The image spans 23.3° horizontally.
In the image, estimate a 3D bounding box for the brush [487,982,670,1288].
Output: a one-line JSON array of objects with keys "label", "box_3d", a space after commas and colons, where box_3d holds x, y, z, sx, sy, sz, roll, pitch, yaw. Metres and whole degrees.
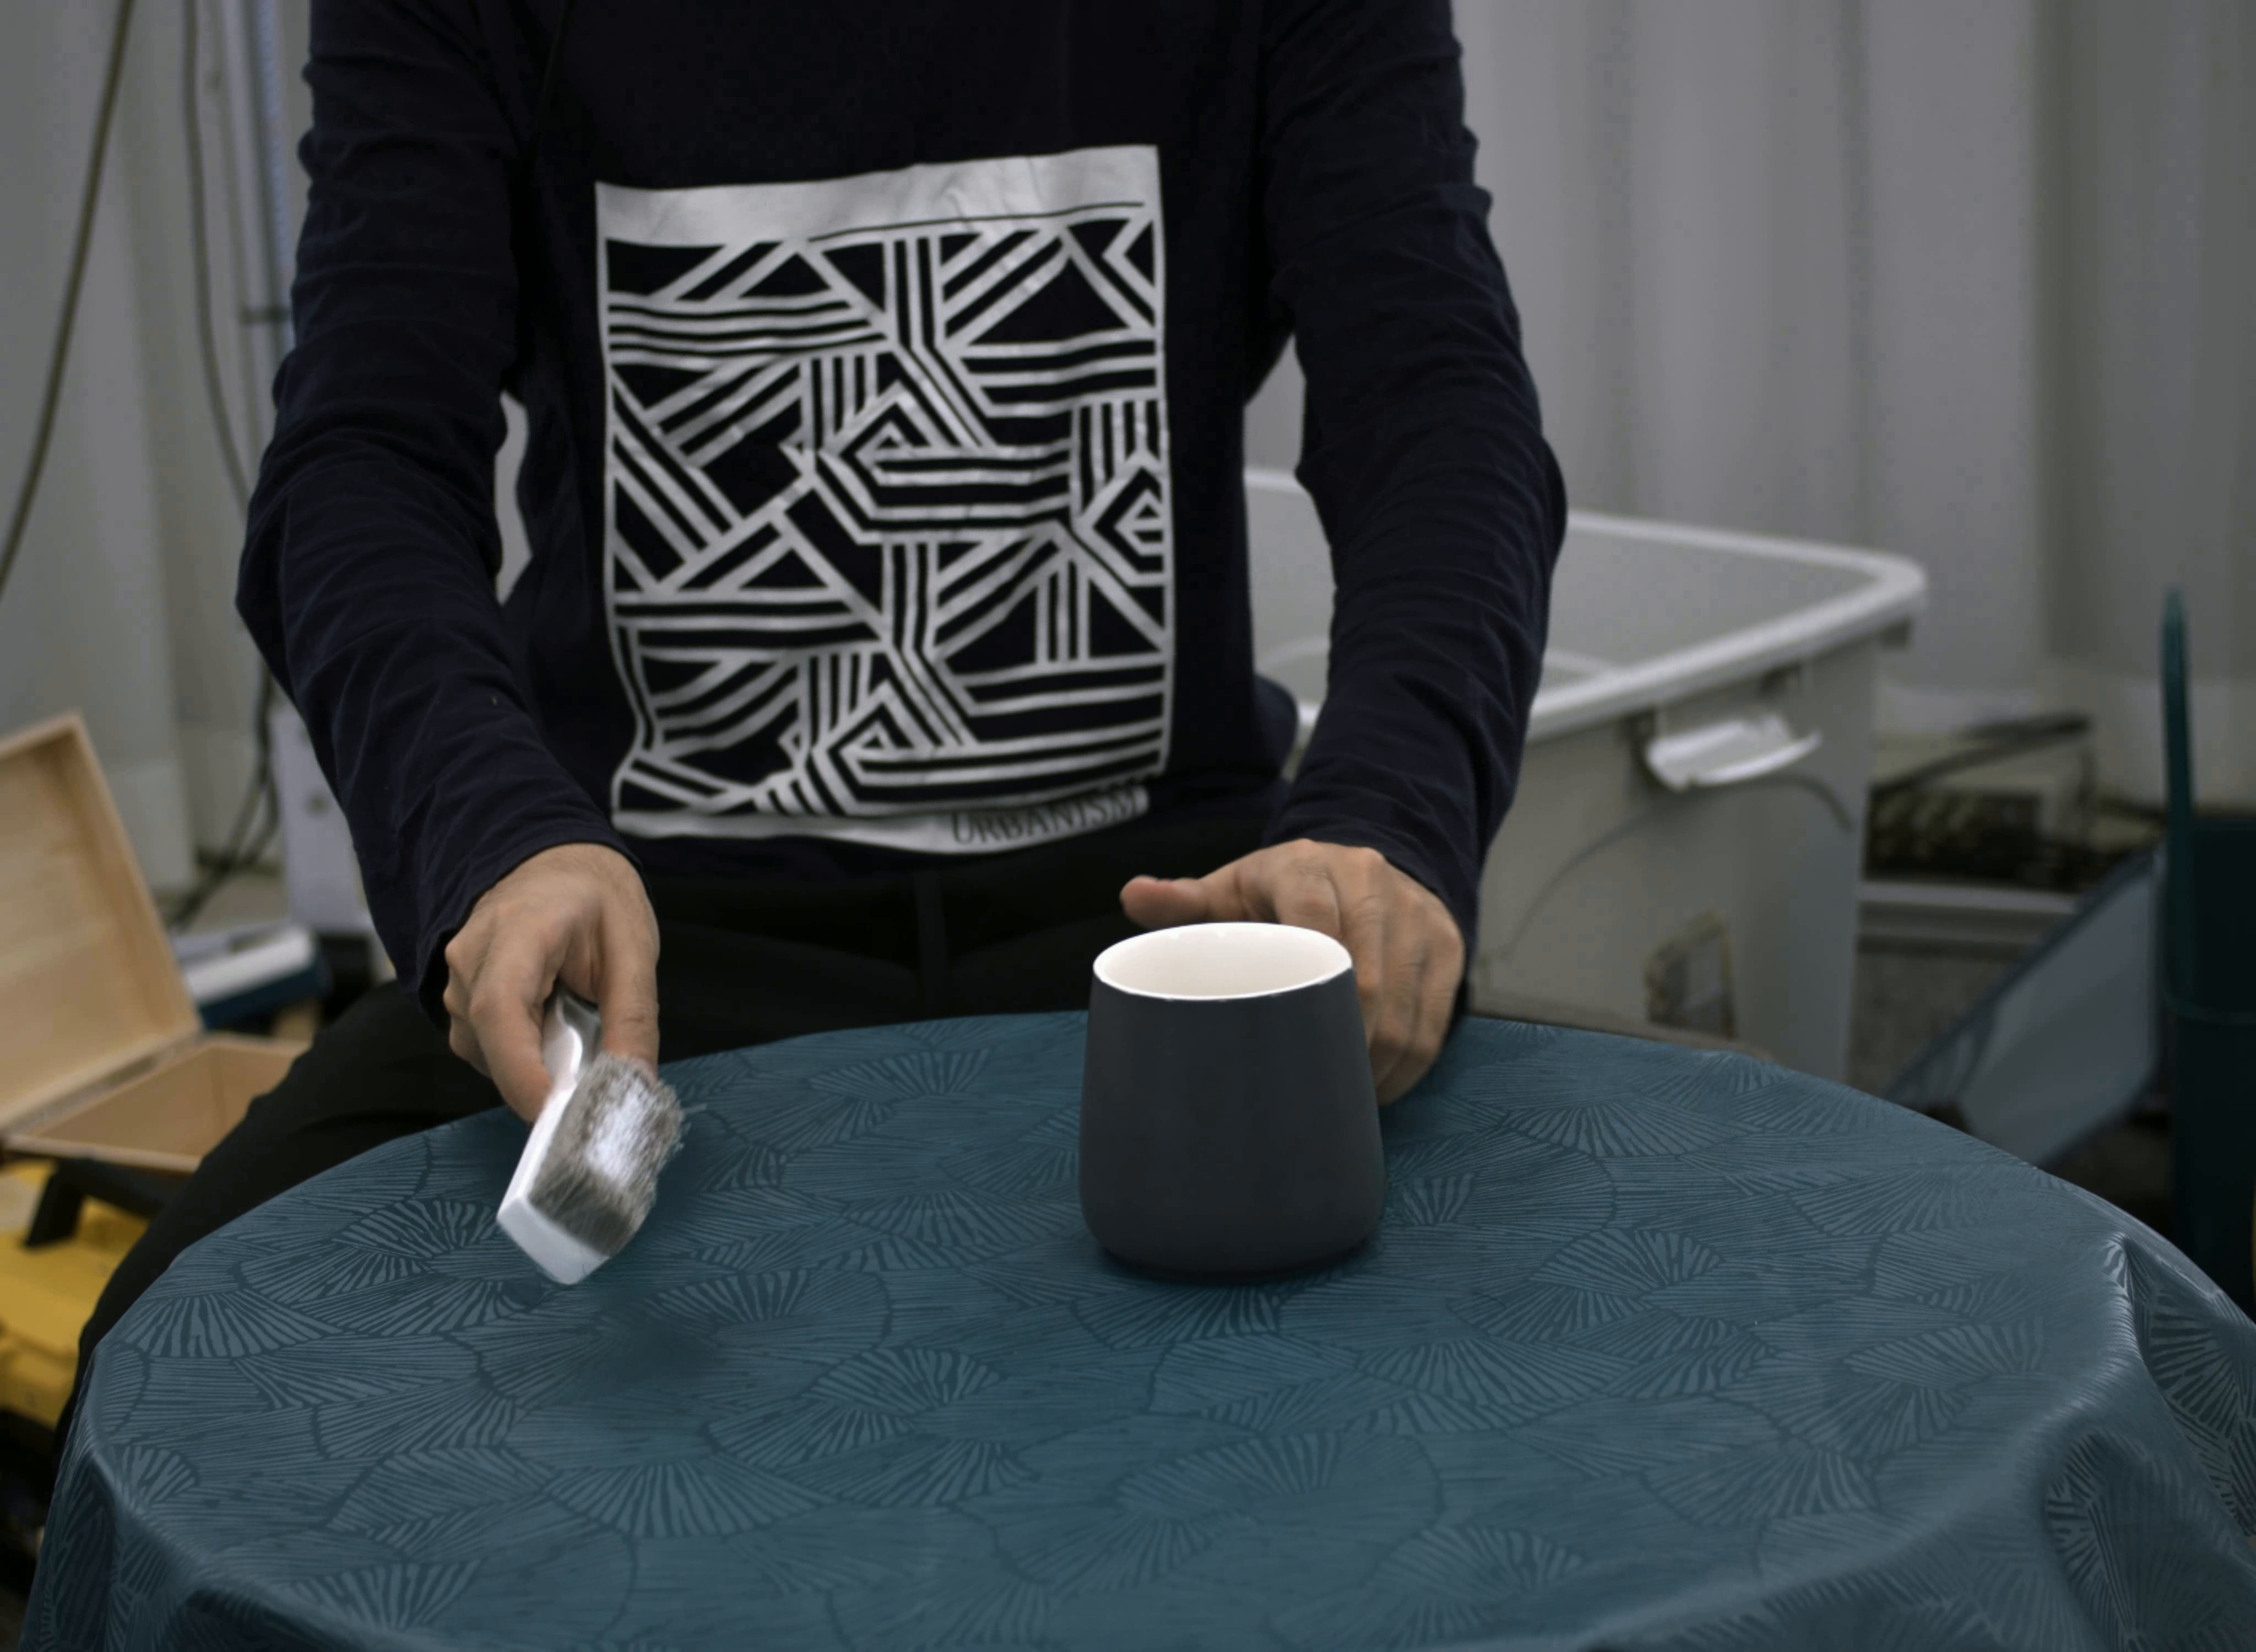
[{"label": "brush", "box_3d": [-0.157, 0.076, 1.670, 0.034, 0.050, 0.245, 32, 14, -8]}]

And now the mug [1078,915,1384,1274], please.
[{"label": "mug", "box_3d": [0.032, 0.077, 1.669, 0.093, 0.089, 0.124, 0, 16, 6]}]
